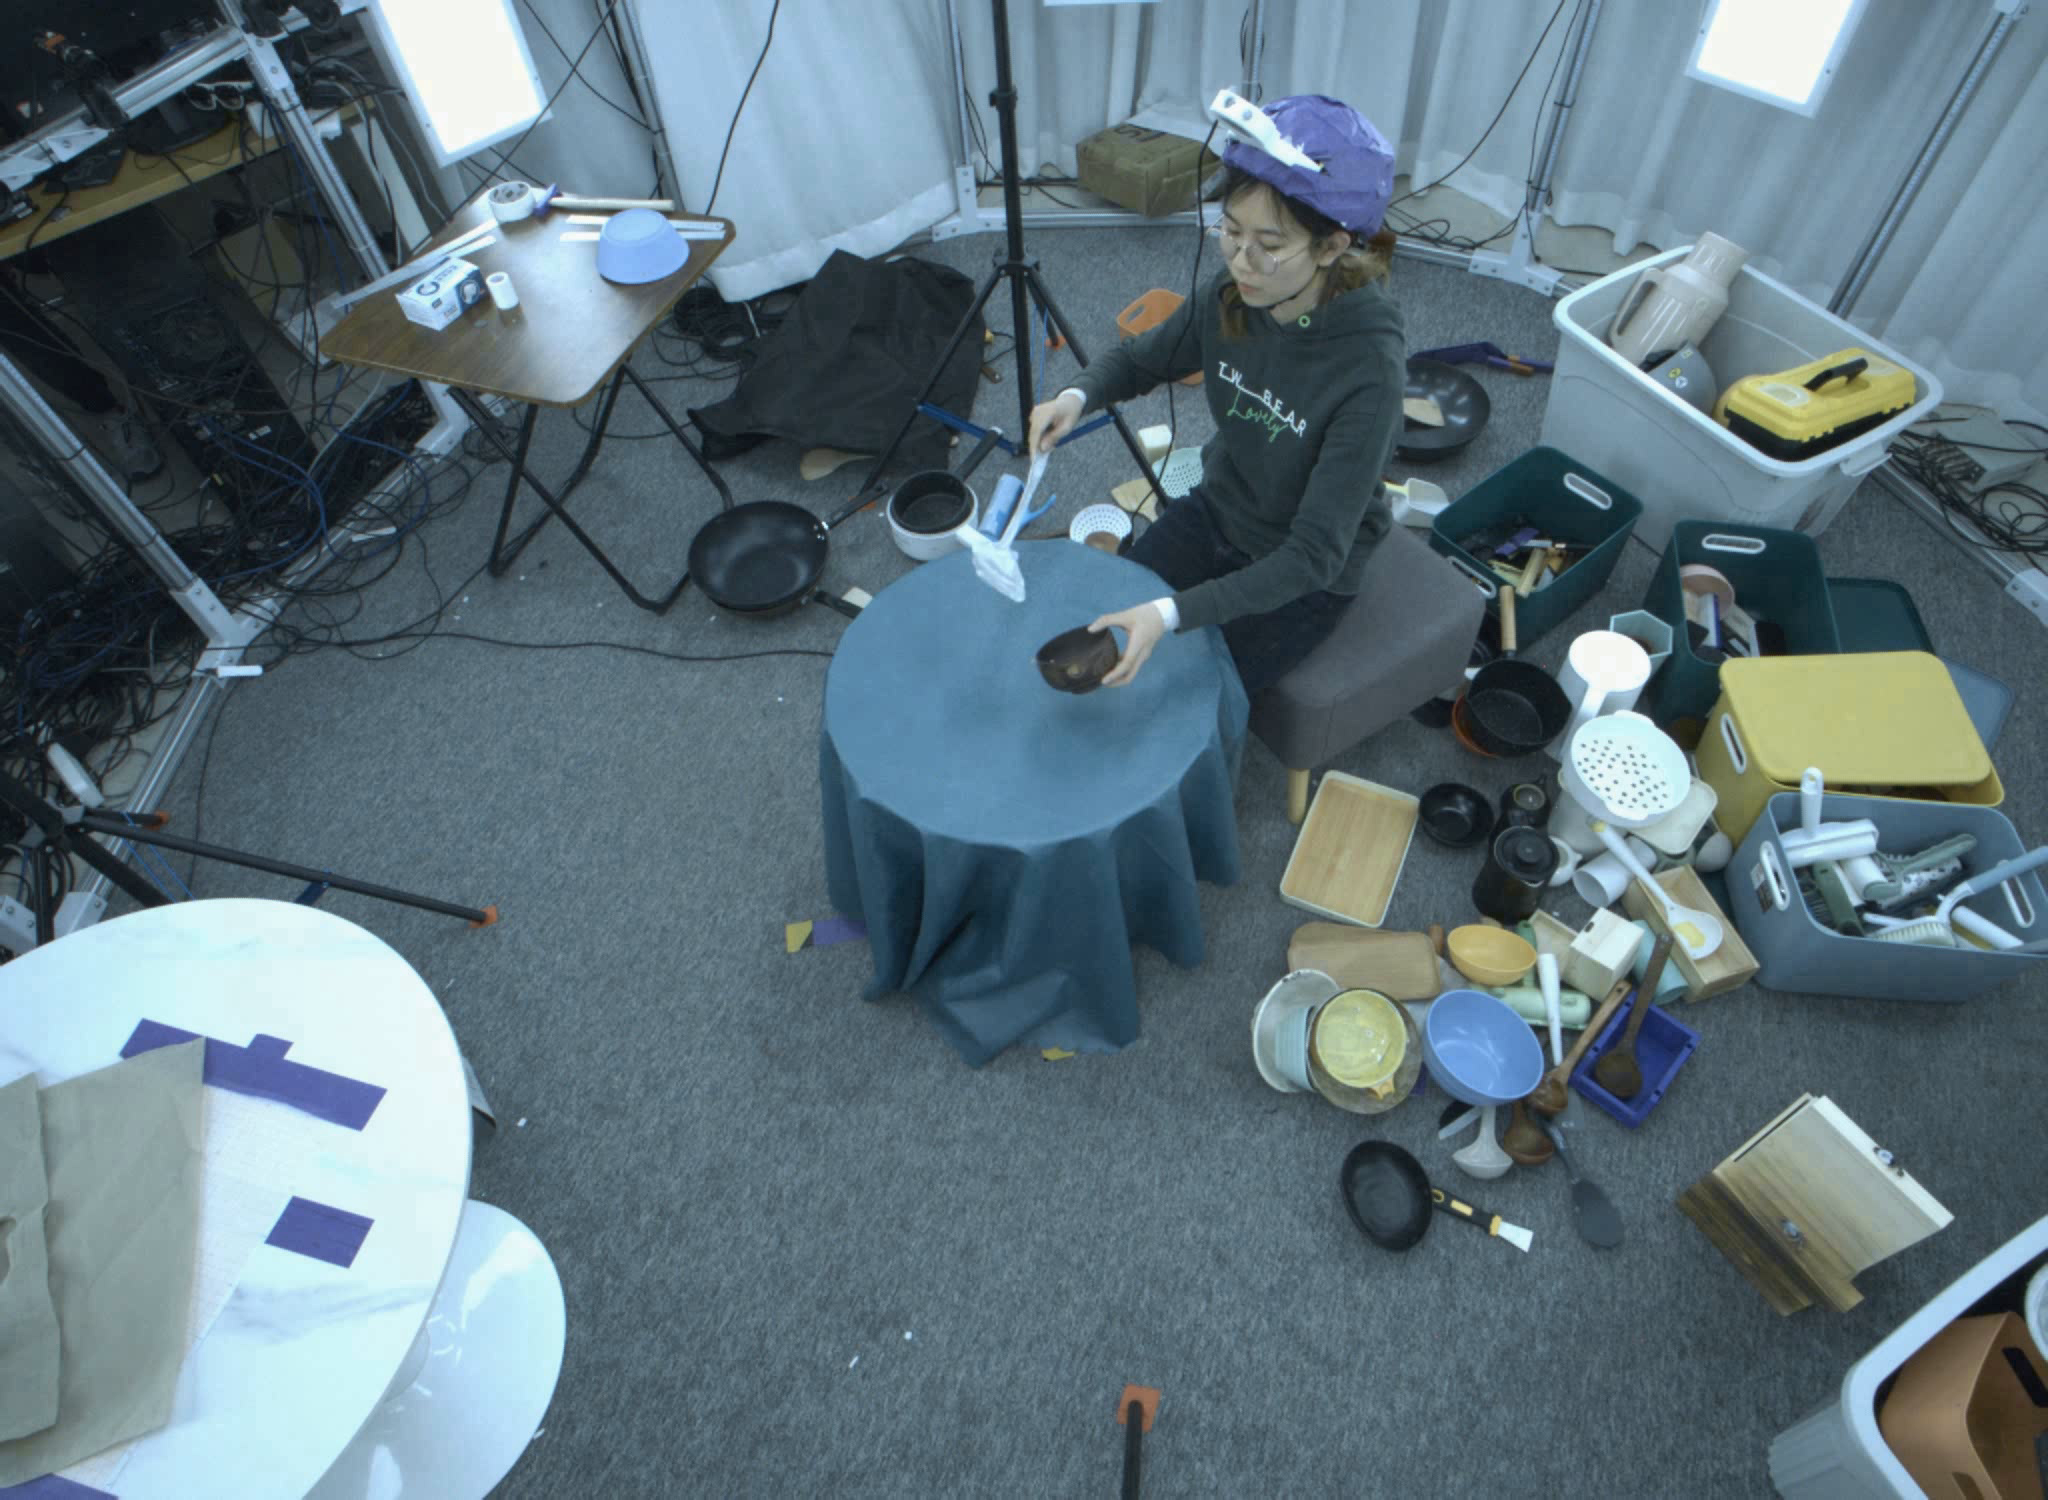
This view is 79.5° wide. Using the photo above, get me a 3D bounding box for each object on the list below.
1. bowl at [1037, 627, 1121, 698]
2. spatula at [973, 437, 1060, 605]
[{"bbox_3d":[0.084,-0.117,1.751,0.117,0.071,0.117,-17,27,11],"label":"bowl"},{"bbox_3d":[0.004,-0.364,1.833,0.100,0.044,0.364,34,57,-24],"label":"spatula"}]
